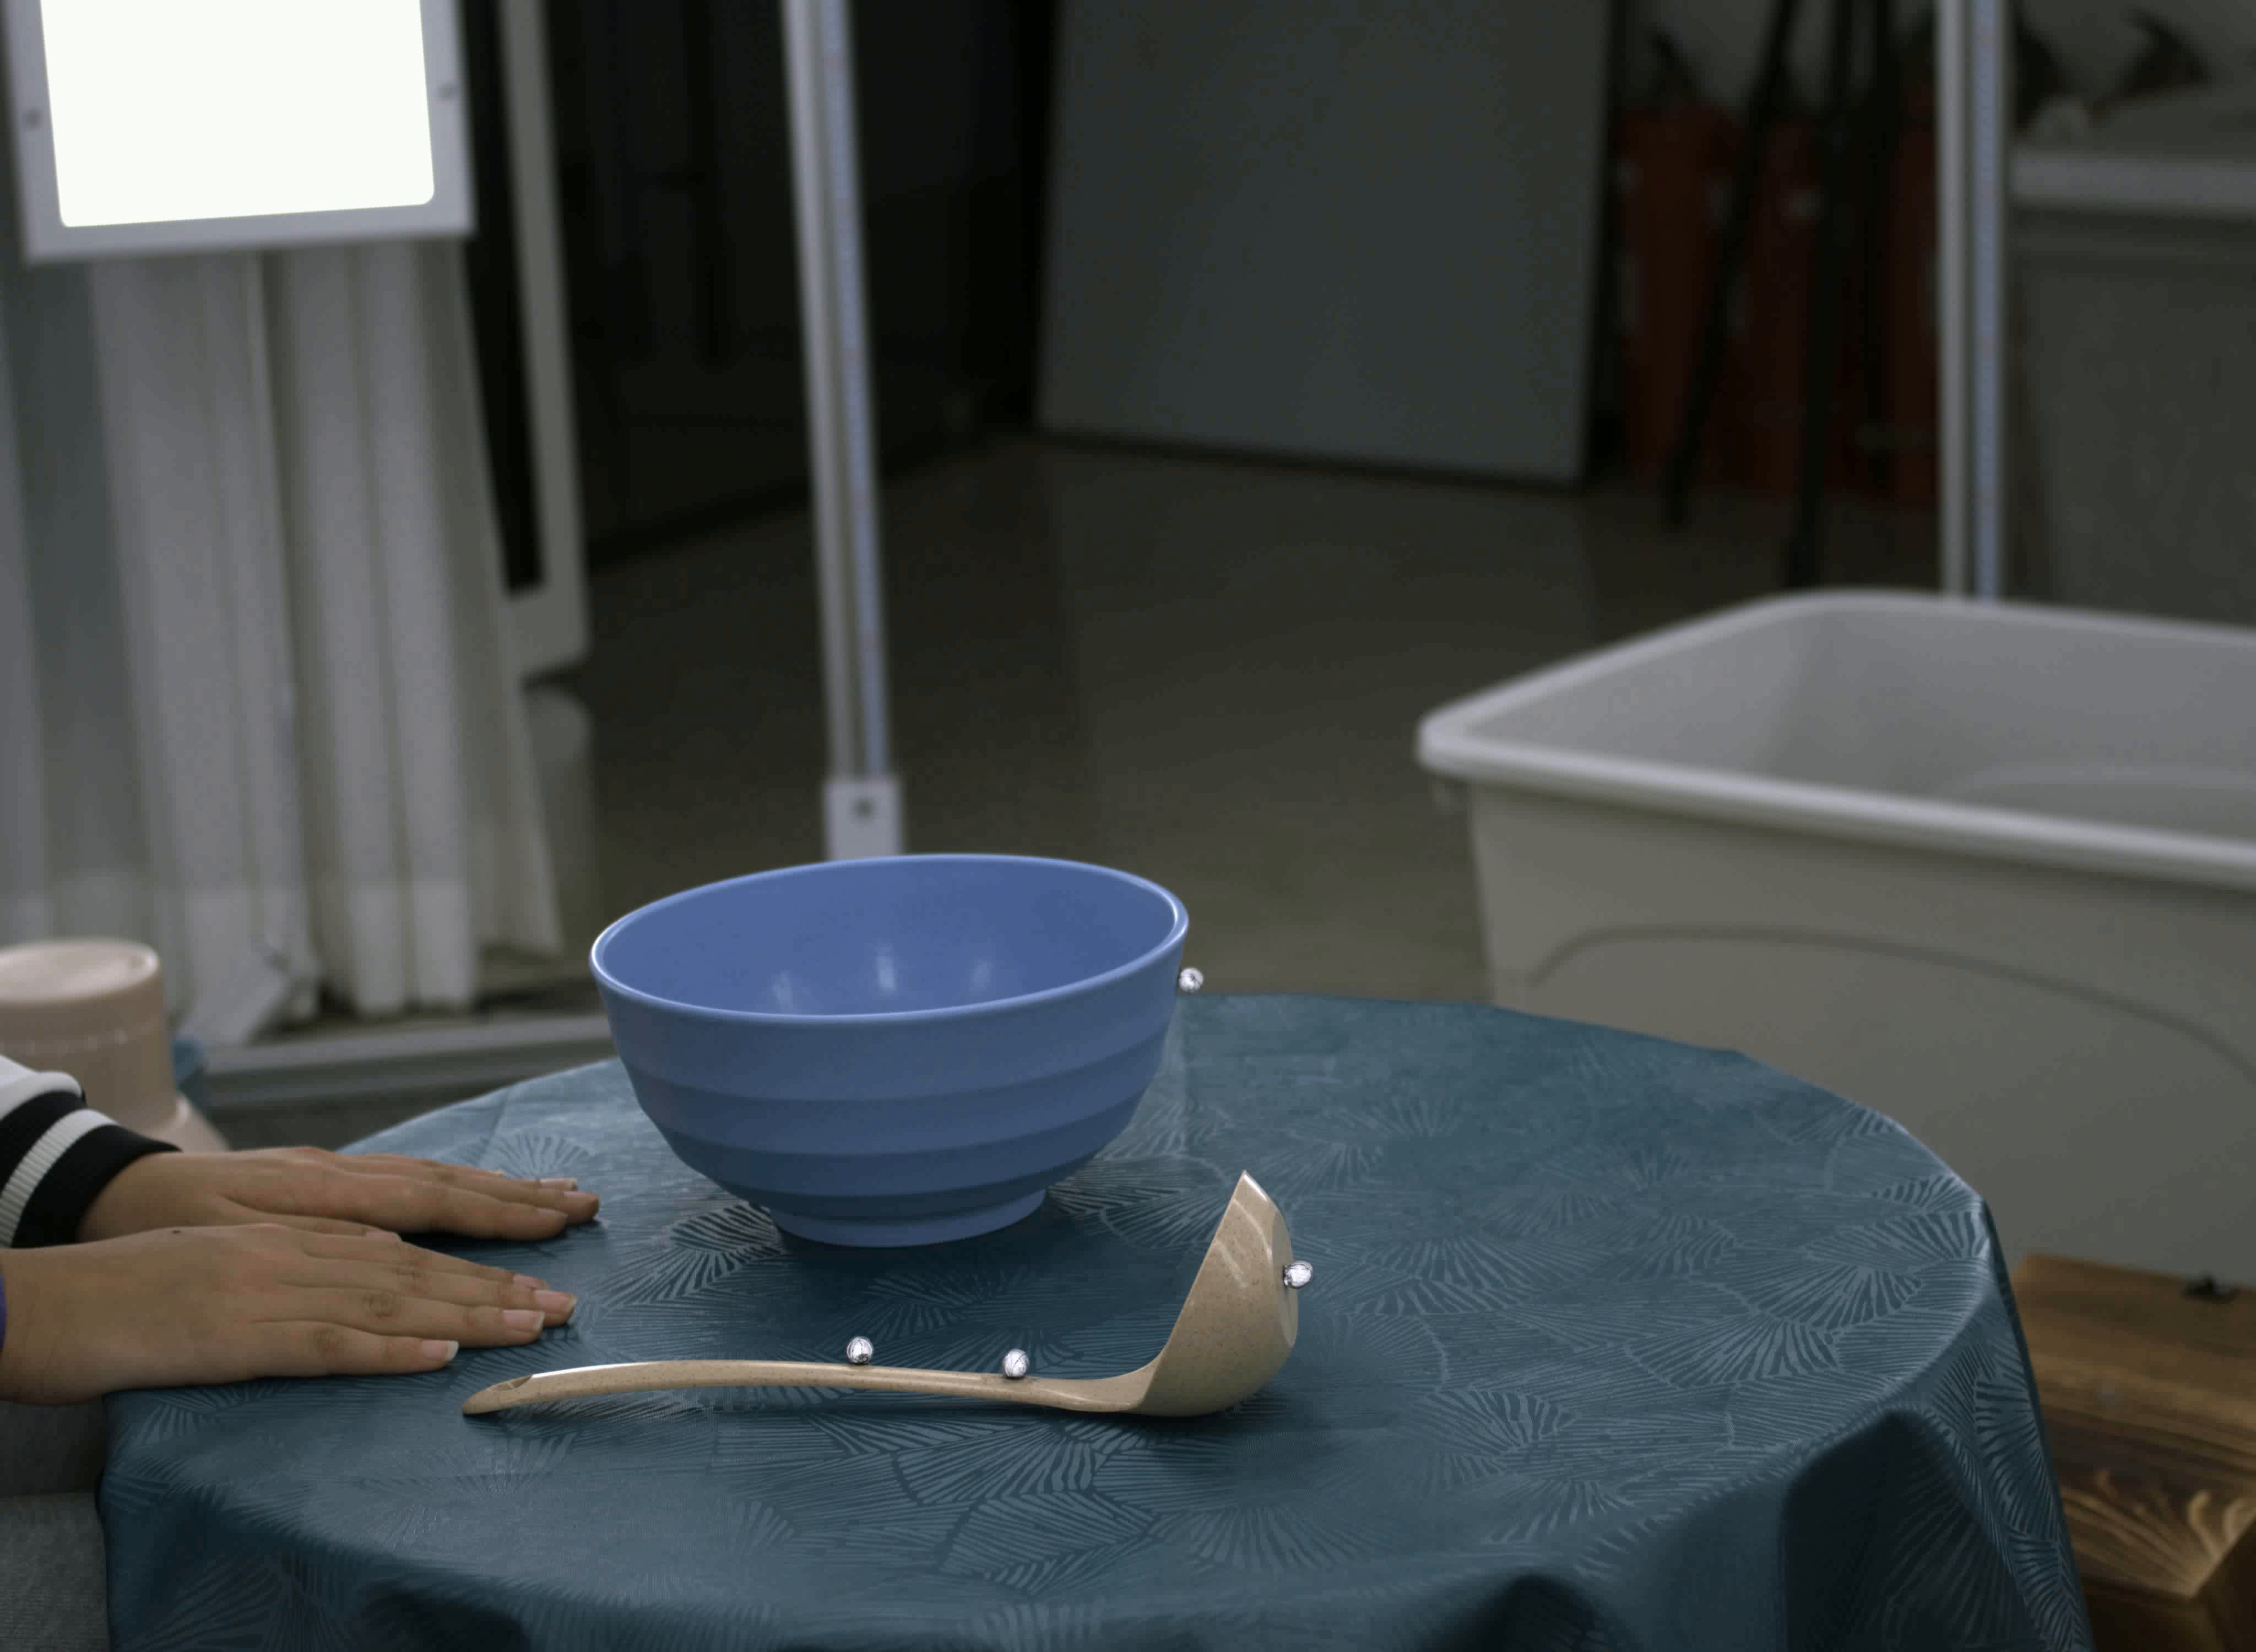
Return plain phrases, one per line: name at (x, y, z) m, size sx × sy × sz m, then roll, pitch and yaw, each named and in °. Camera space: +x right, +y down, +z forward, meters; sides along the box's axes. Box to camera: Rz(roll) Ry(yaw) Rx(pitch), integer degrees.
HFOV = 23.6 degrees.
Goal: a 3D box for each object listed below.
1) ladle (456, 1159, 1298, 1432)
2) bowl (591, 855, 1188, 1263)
ladle at (-0.076, 0.137, 1.574) m, size 0.252 × 0.073 × 0.072 m, roll -2°, pitch 13°, yaw 9°
bowl at (-0.074, 0.082, 1.763) m, size 0.194 × 0.096 × 0.197 m, roll -4°, pitch 15°, yaw 0°
